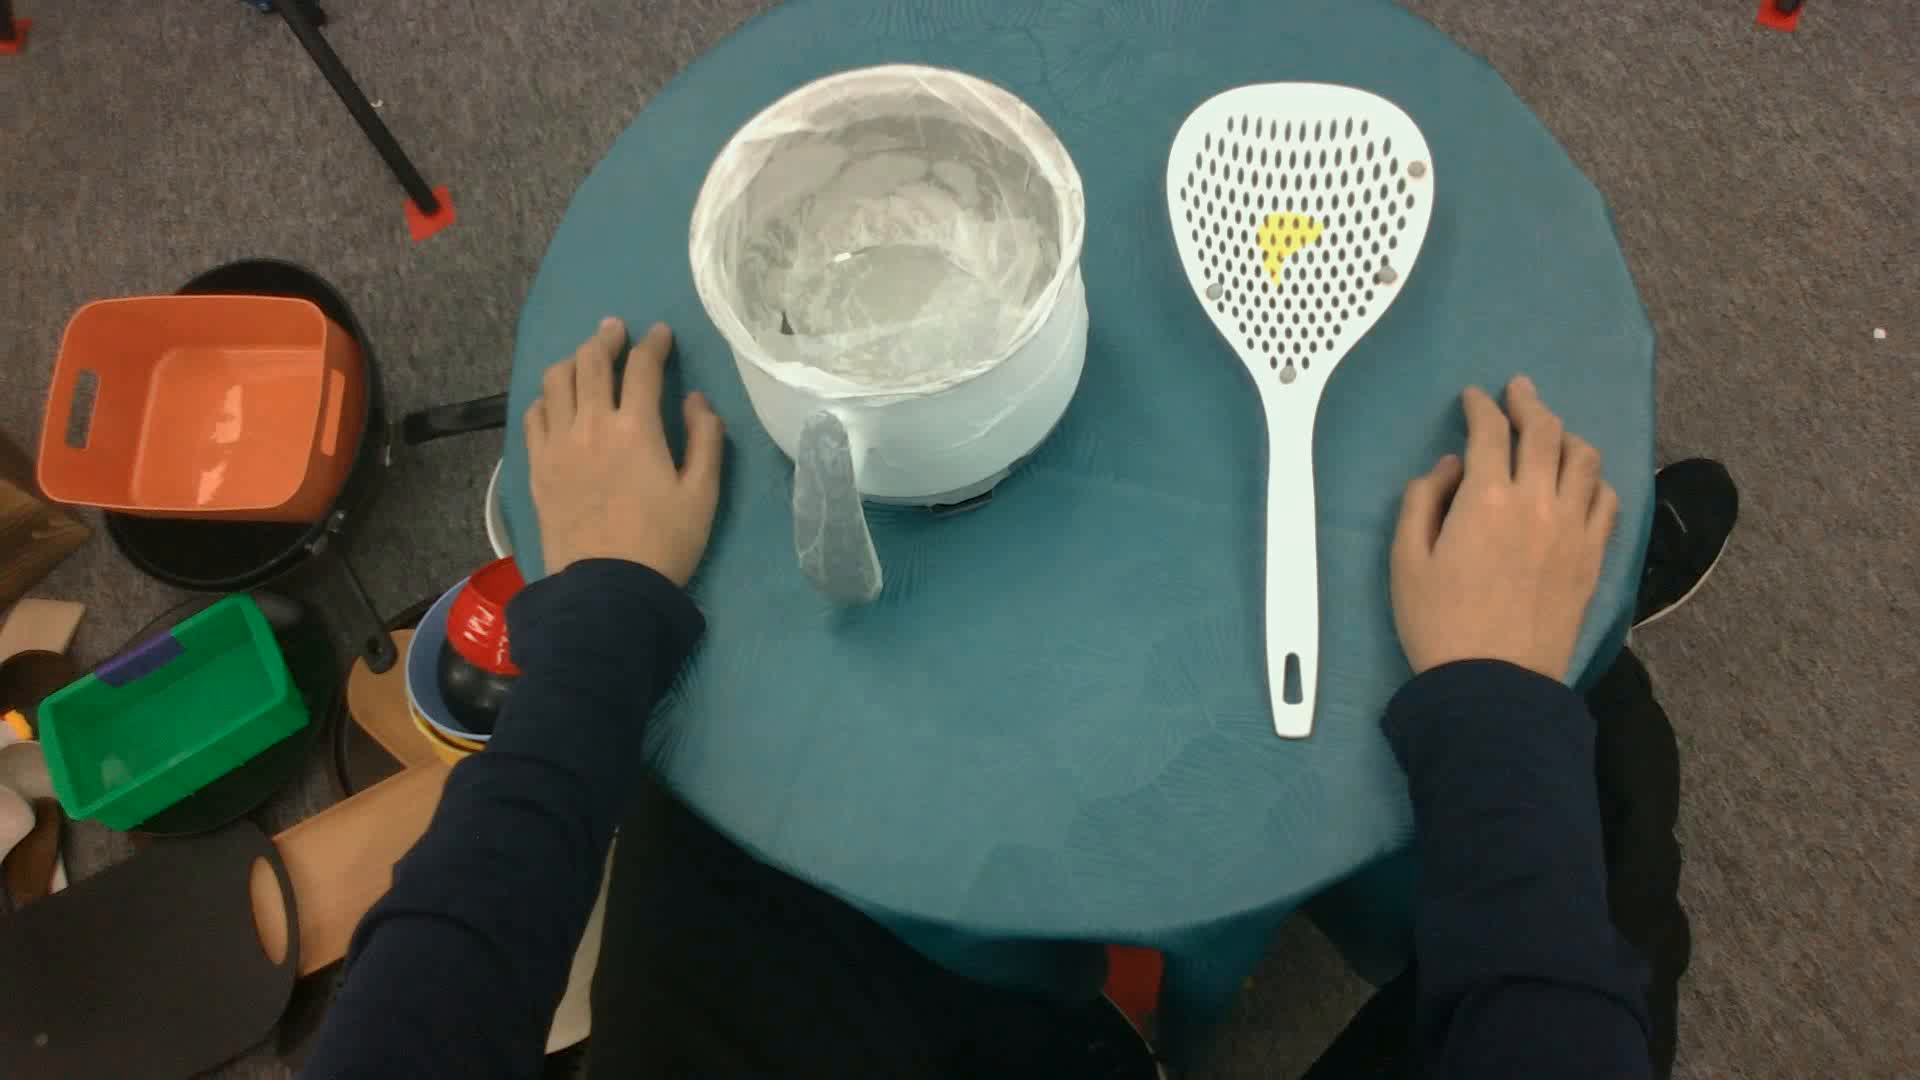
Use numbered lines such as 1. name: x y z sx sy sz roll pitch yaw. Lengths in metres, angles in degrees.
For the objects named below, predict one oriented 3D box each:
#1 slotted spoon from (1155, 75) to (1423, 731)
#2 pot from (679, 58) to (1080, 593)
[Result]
1. slotted spoon: 0.163 -0.080 0.688 0.137 0.050 0.349 3 67 5
2. pot: -0.037 -0.097 0.660 0.178 0.136 0.234 9 67 11
